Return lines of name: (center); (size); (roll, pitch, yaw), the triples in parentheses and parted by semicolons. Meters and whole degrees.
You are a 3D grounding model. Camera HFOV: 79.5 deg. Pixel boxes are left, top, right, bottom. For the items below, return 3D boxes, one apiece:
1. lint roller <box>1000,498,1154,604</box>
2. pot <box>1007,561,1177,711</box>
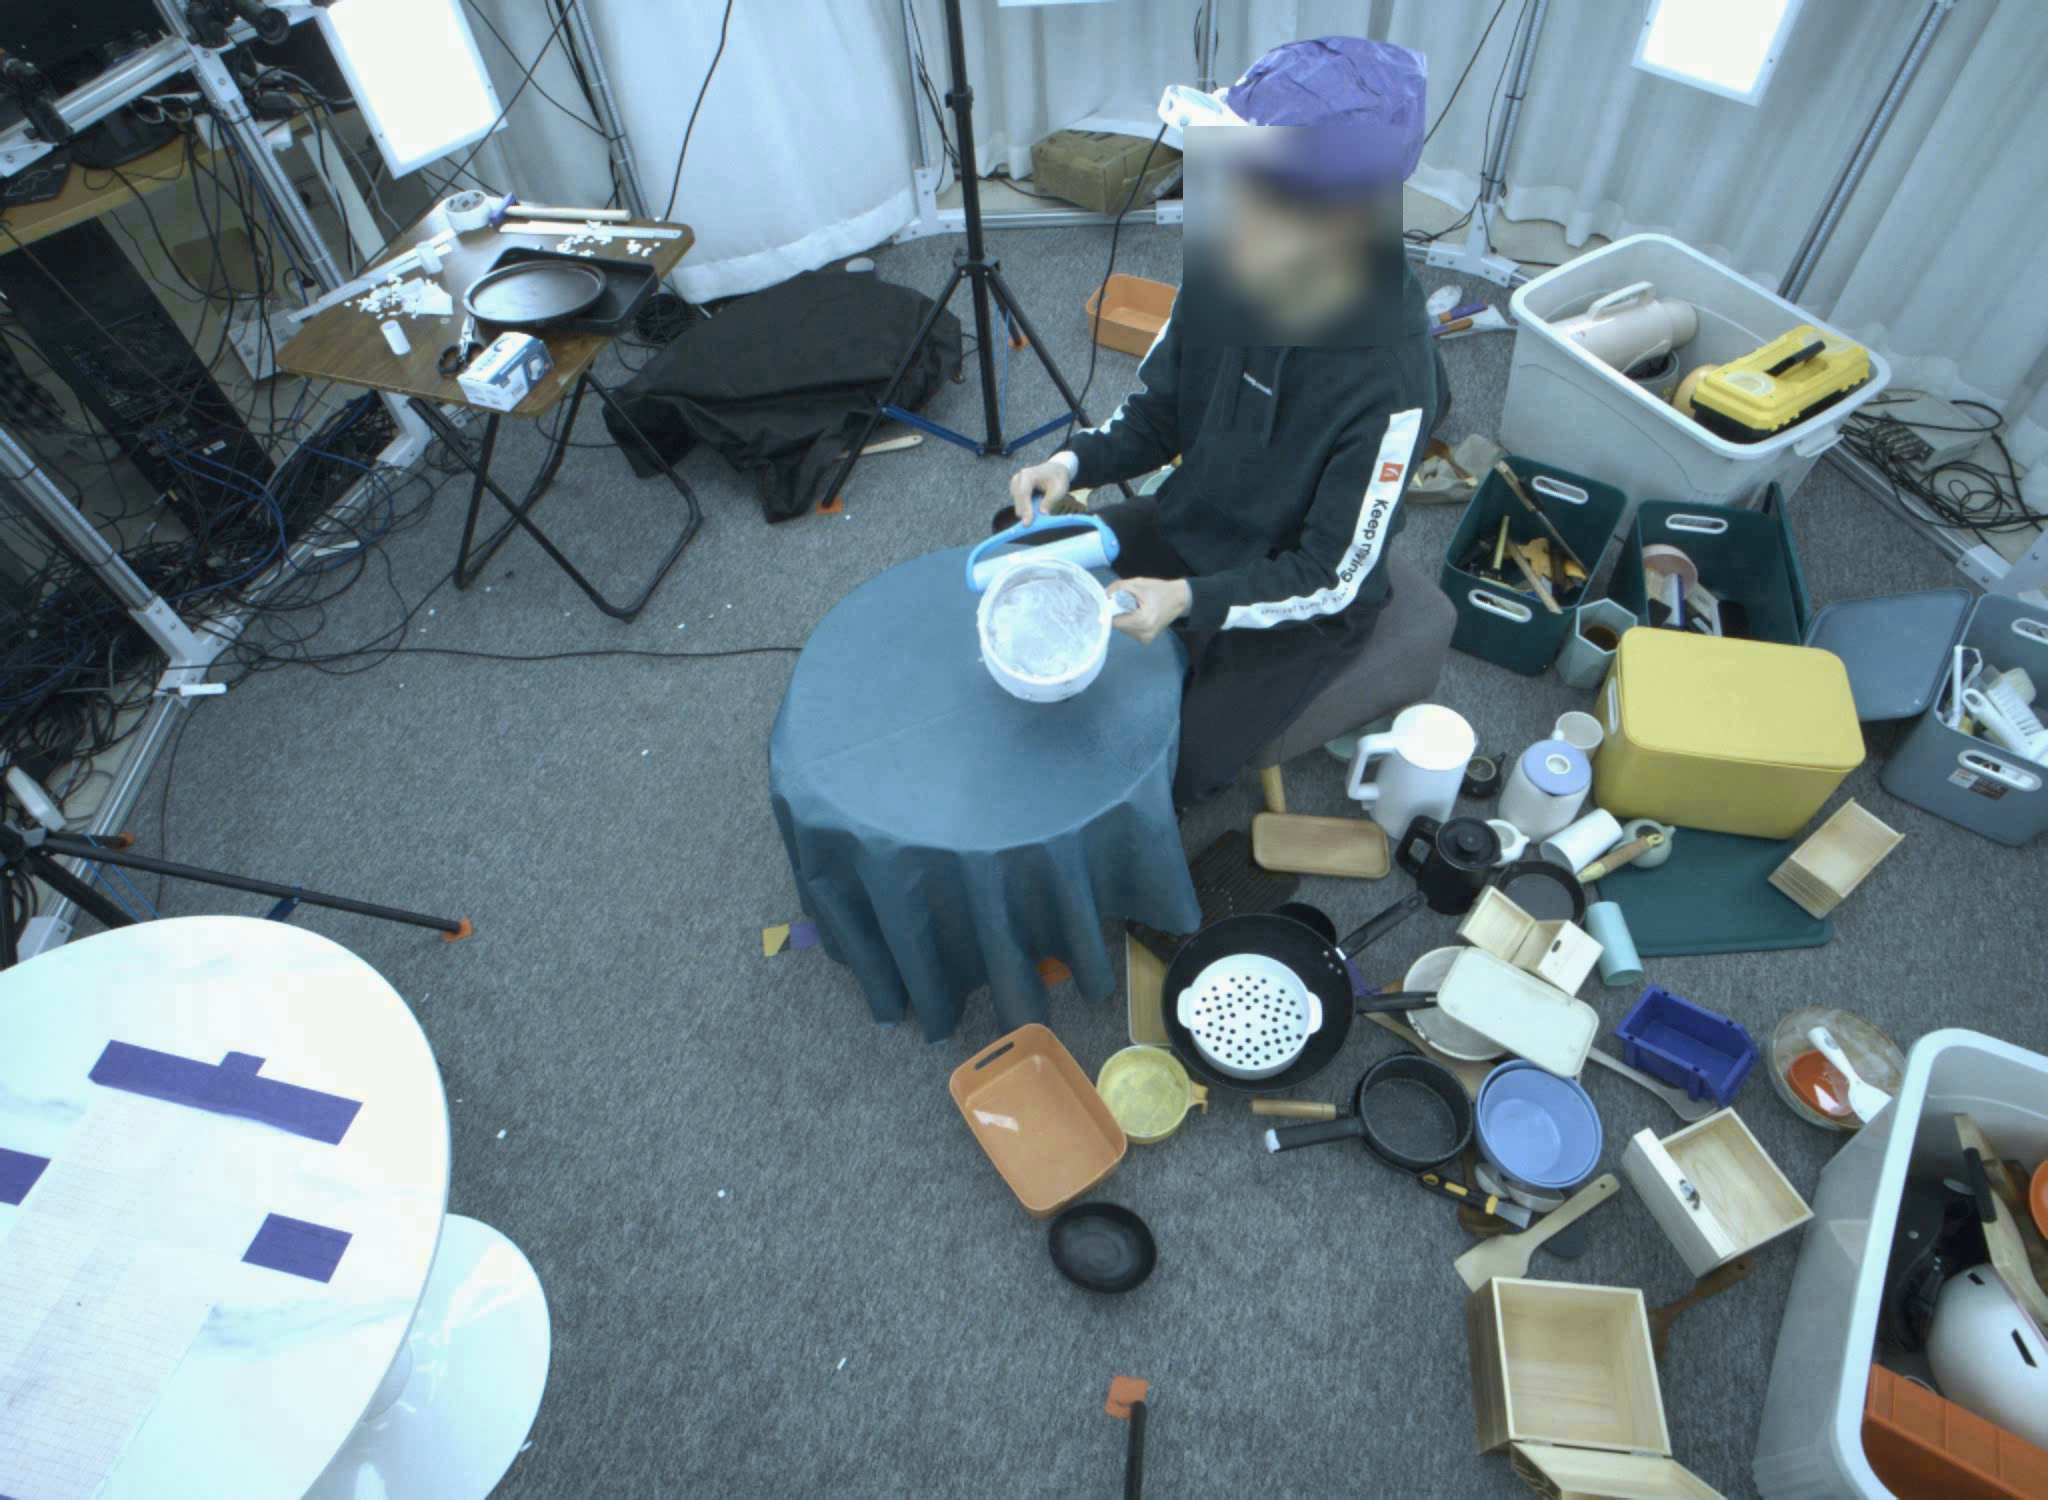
lint roller: (0.068, -0.307, 1.770); (0.227, 0.069, 0.178); (-16, 60, 17)
pot: (0.096, -0.160, 1.674); (0.234, 0.137, 0.177); (-17, 80, -2)
